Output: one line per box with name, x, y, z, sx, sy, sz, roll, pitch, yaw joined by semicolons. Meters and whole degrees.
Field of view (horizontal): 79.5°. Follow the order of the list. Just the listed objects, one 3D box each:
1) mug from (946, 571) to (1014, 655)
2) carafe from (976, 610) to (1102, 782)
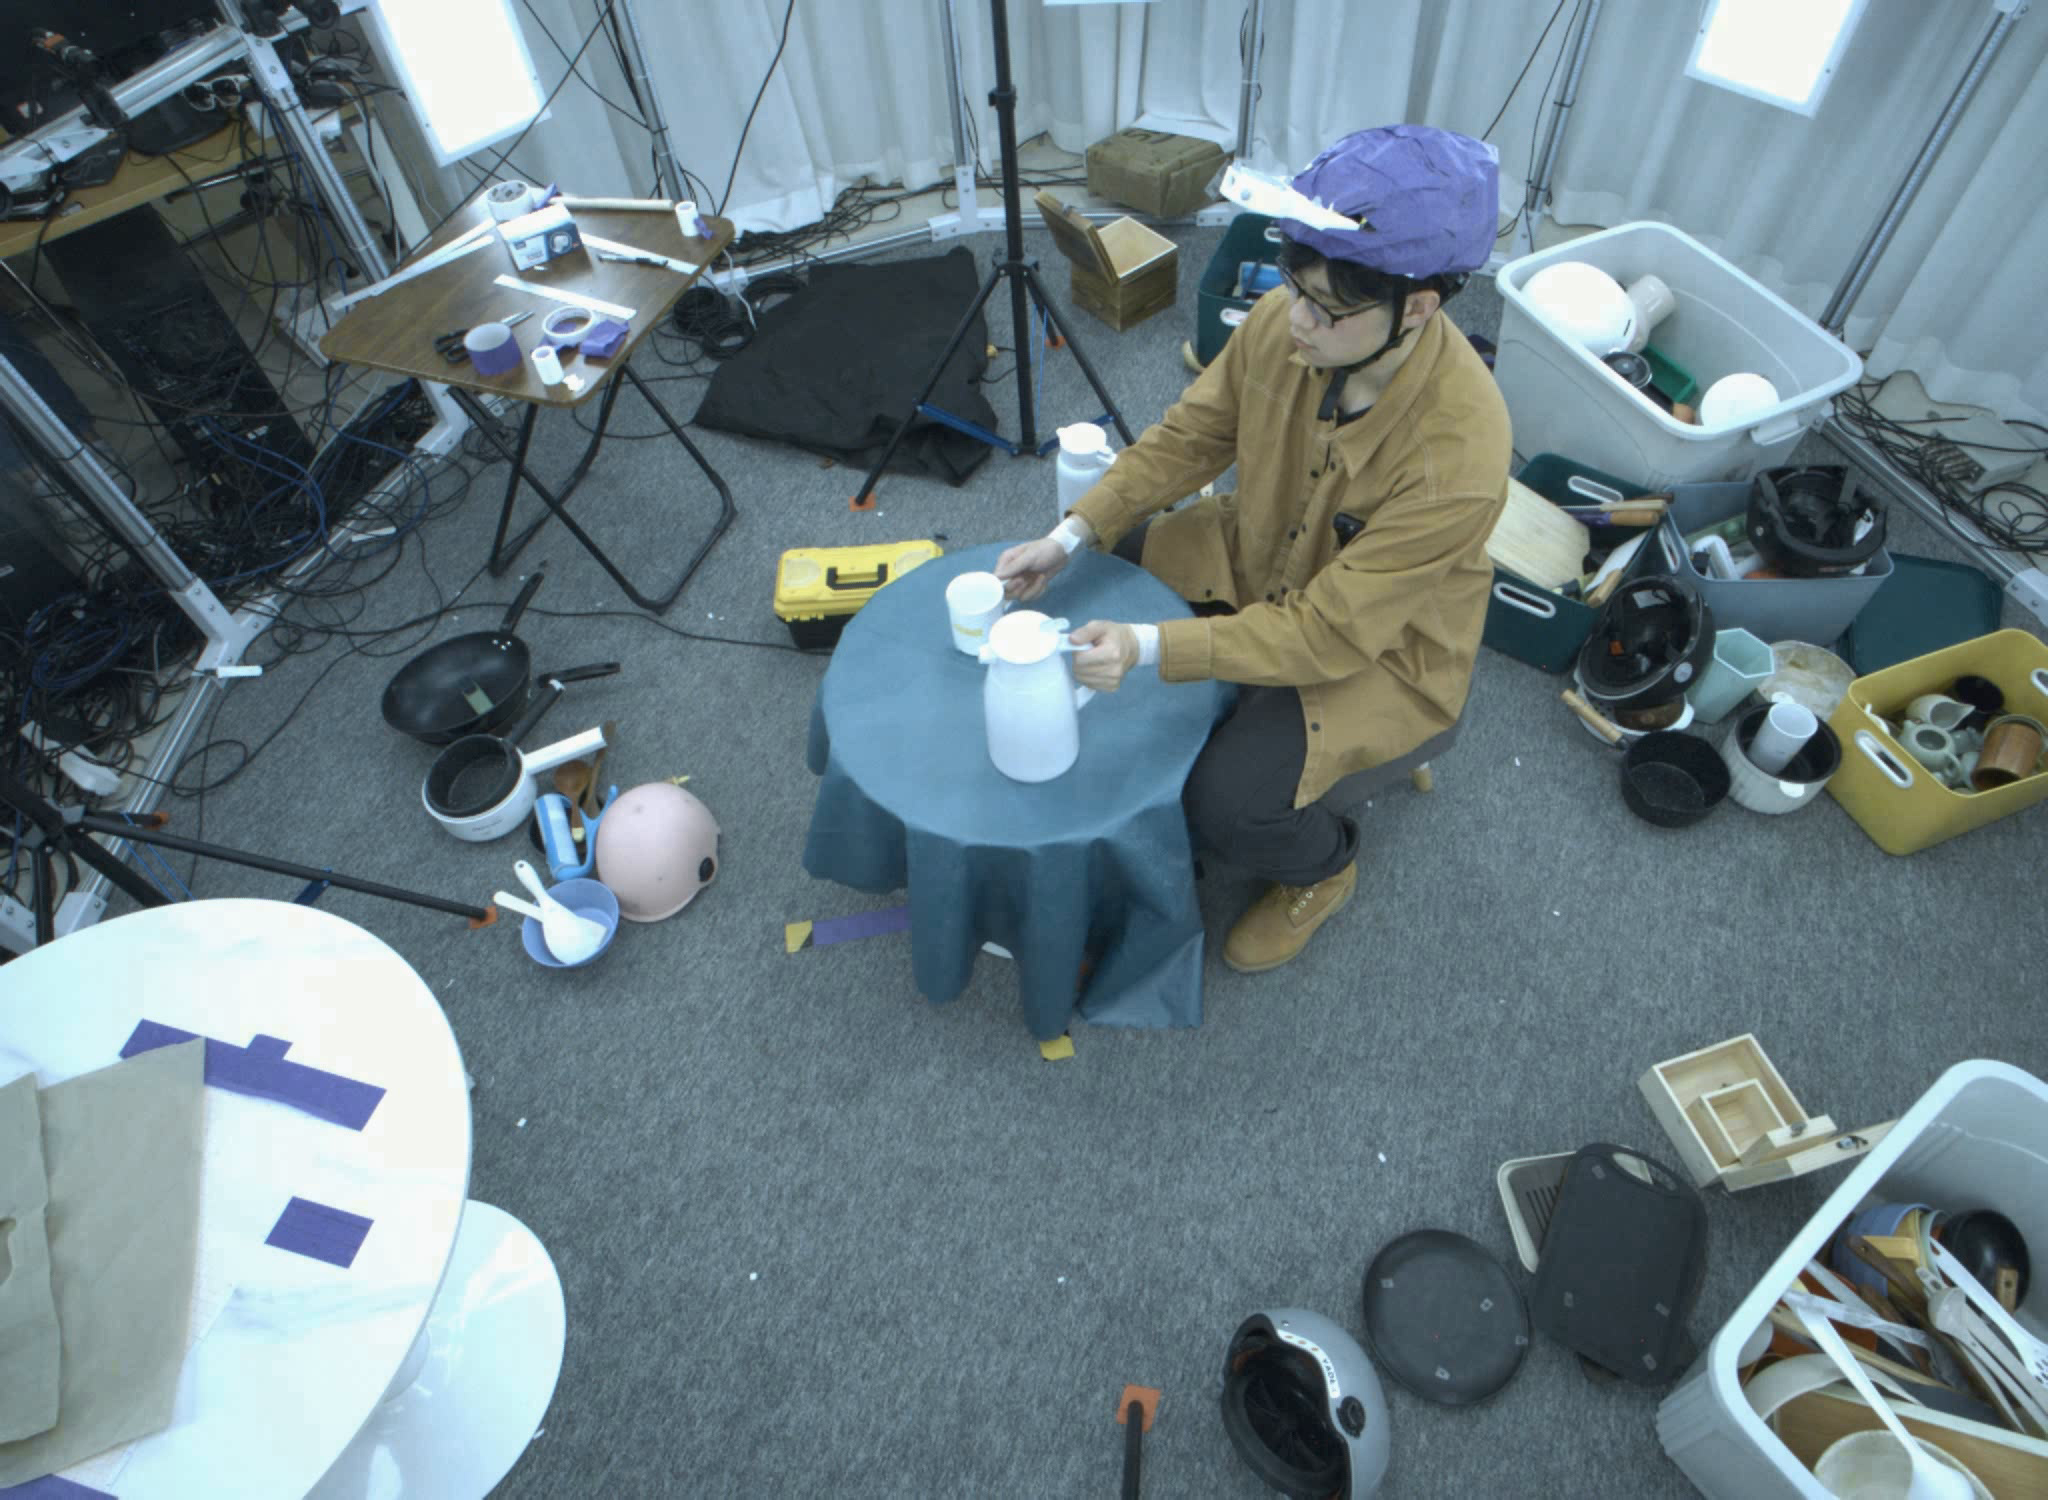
mug;-0.062;-0.217;1.876;0.083;0.103;0.119;35;63;25
carafe;0.024;-0.085;1.689;0.168;0.251;0.130;-14;54;-7
